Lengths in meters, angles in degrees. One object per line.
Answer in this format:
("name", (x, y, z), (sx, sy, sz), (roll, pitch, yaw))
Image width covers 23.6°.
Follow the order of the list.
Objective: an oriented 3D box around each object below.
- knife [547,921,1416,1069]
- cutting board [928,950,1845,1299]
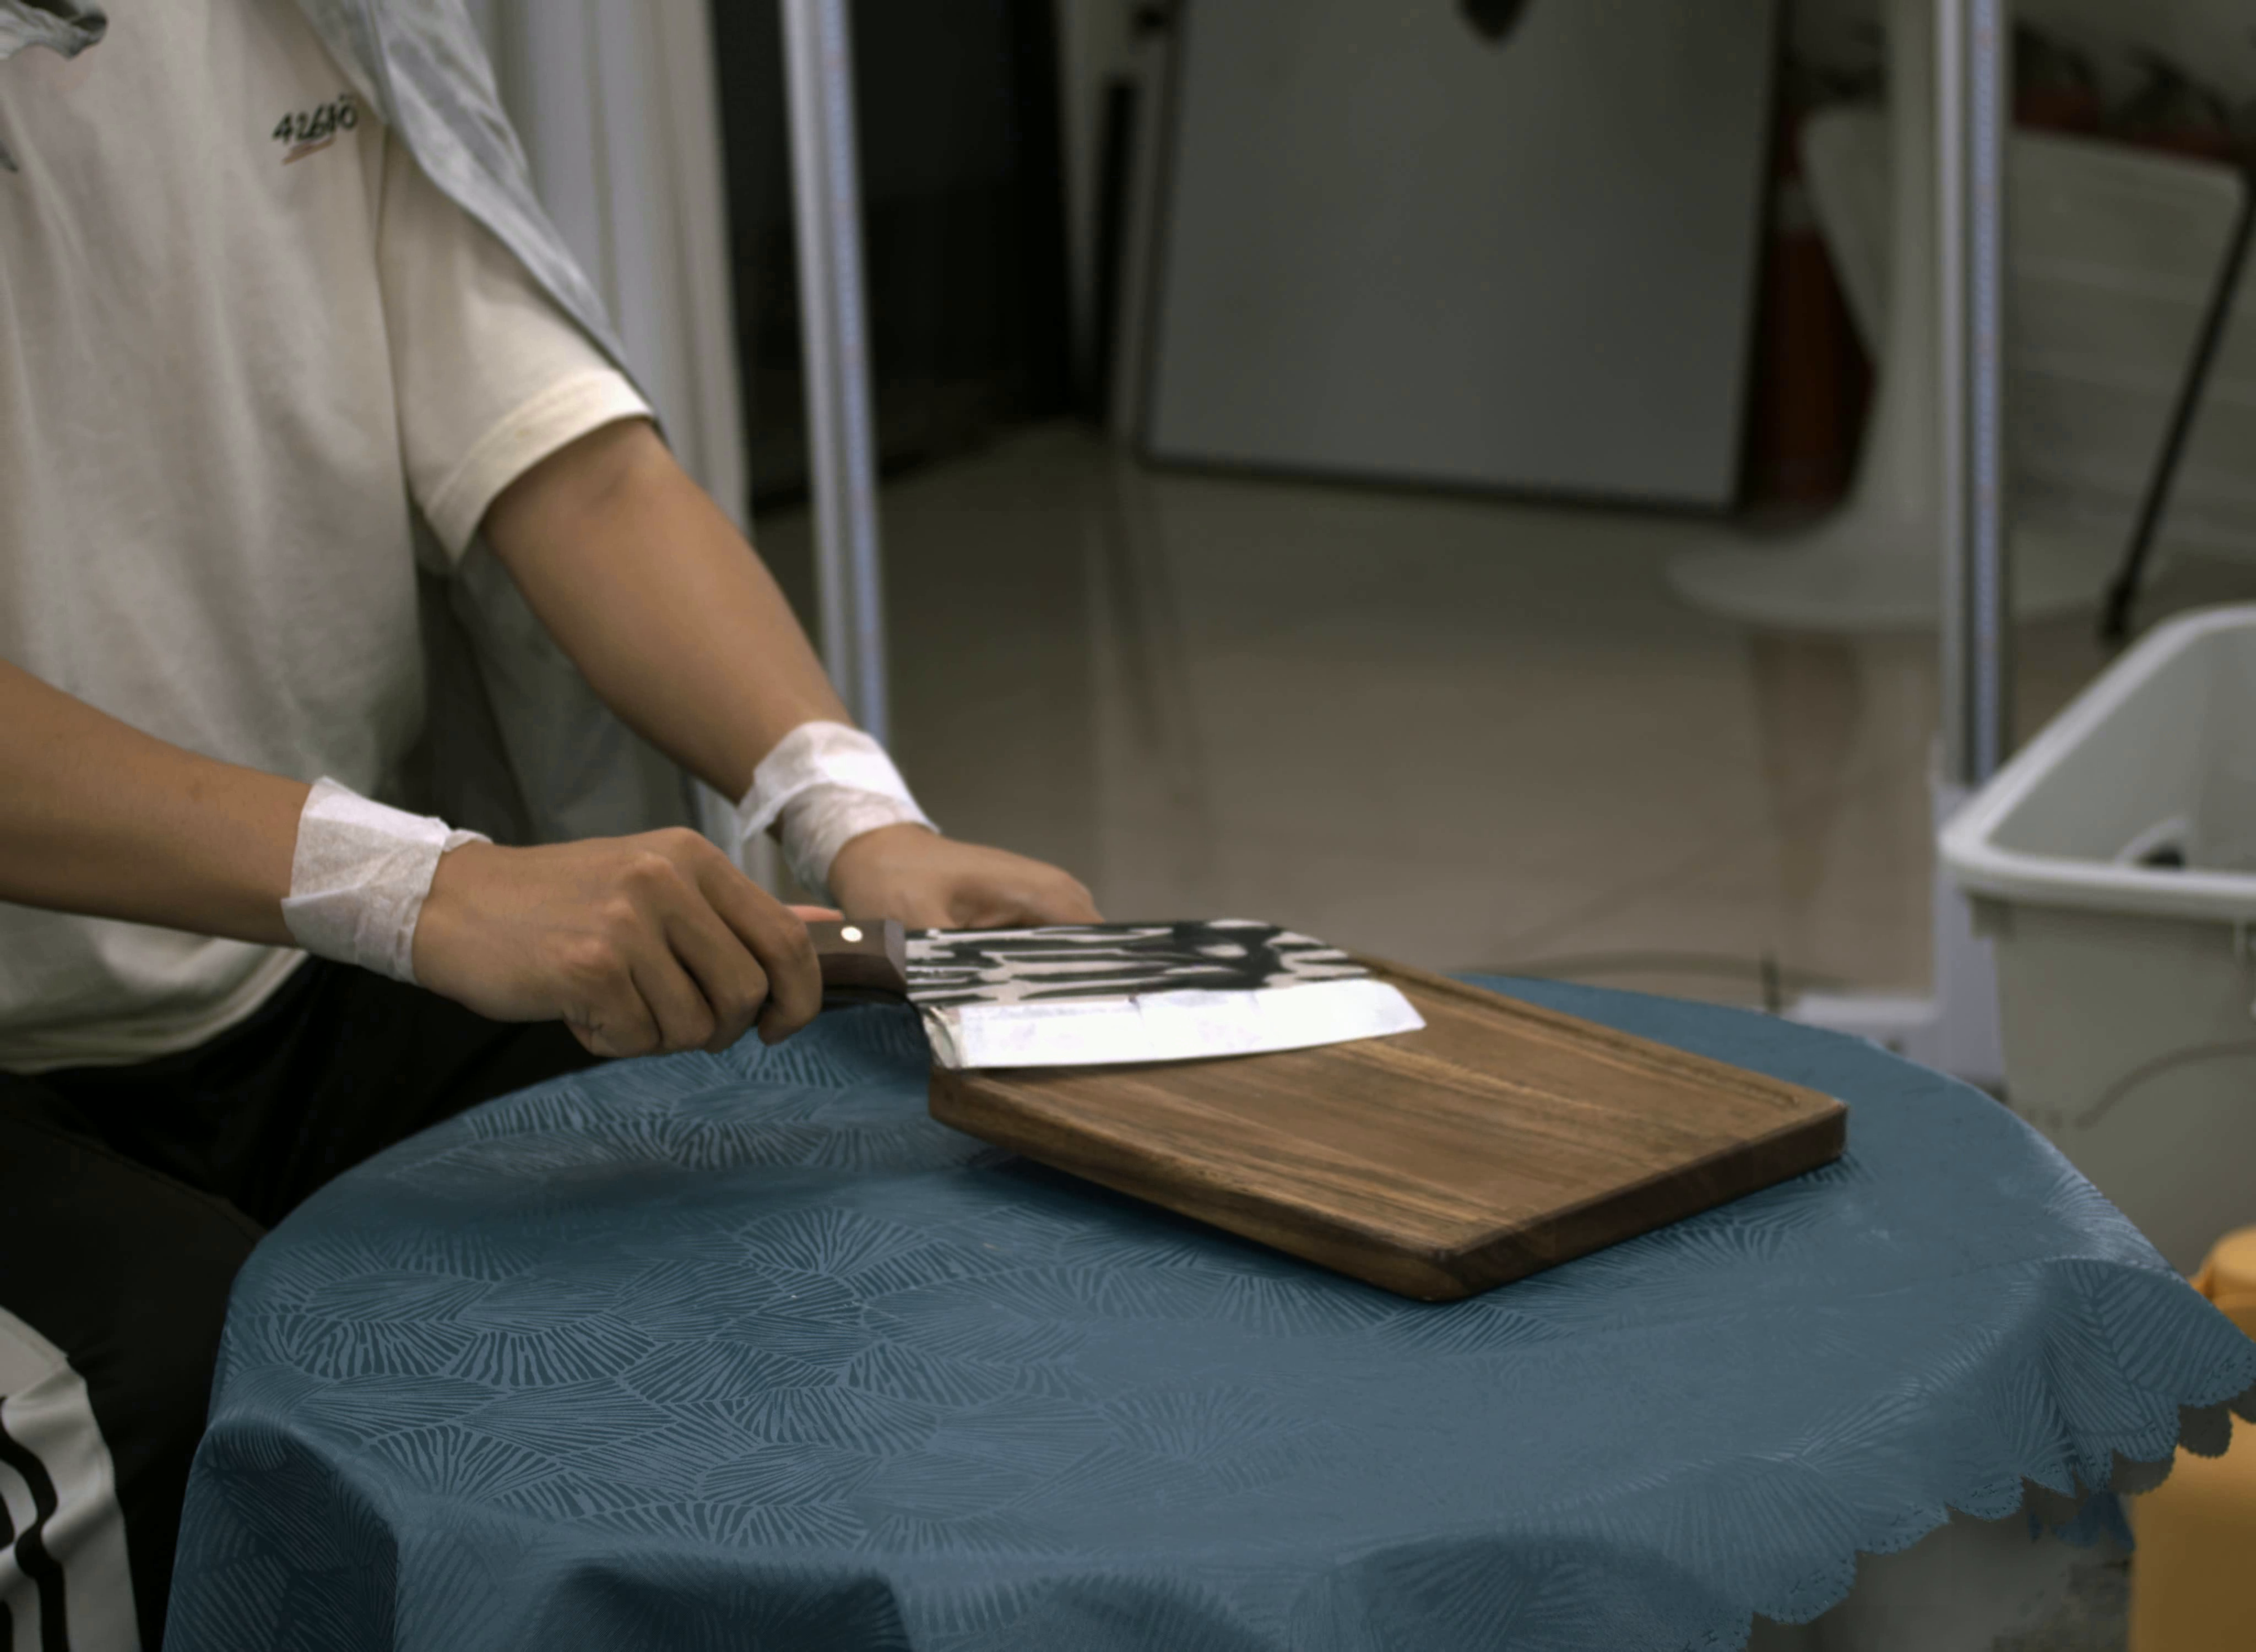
("knife", (-0.047, 0.058, 1.828), (0.293, 0.024, 0.069), (-1, 42, -15))
("cutting board", (0.051, 0.085, 1.822), (0.197, 0.023, 0.356), (-15, 20, -39))
